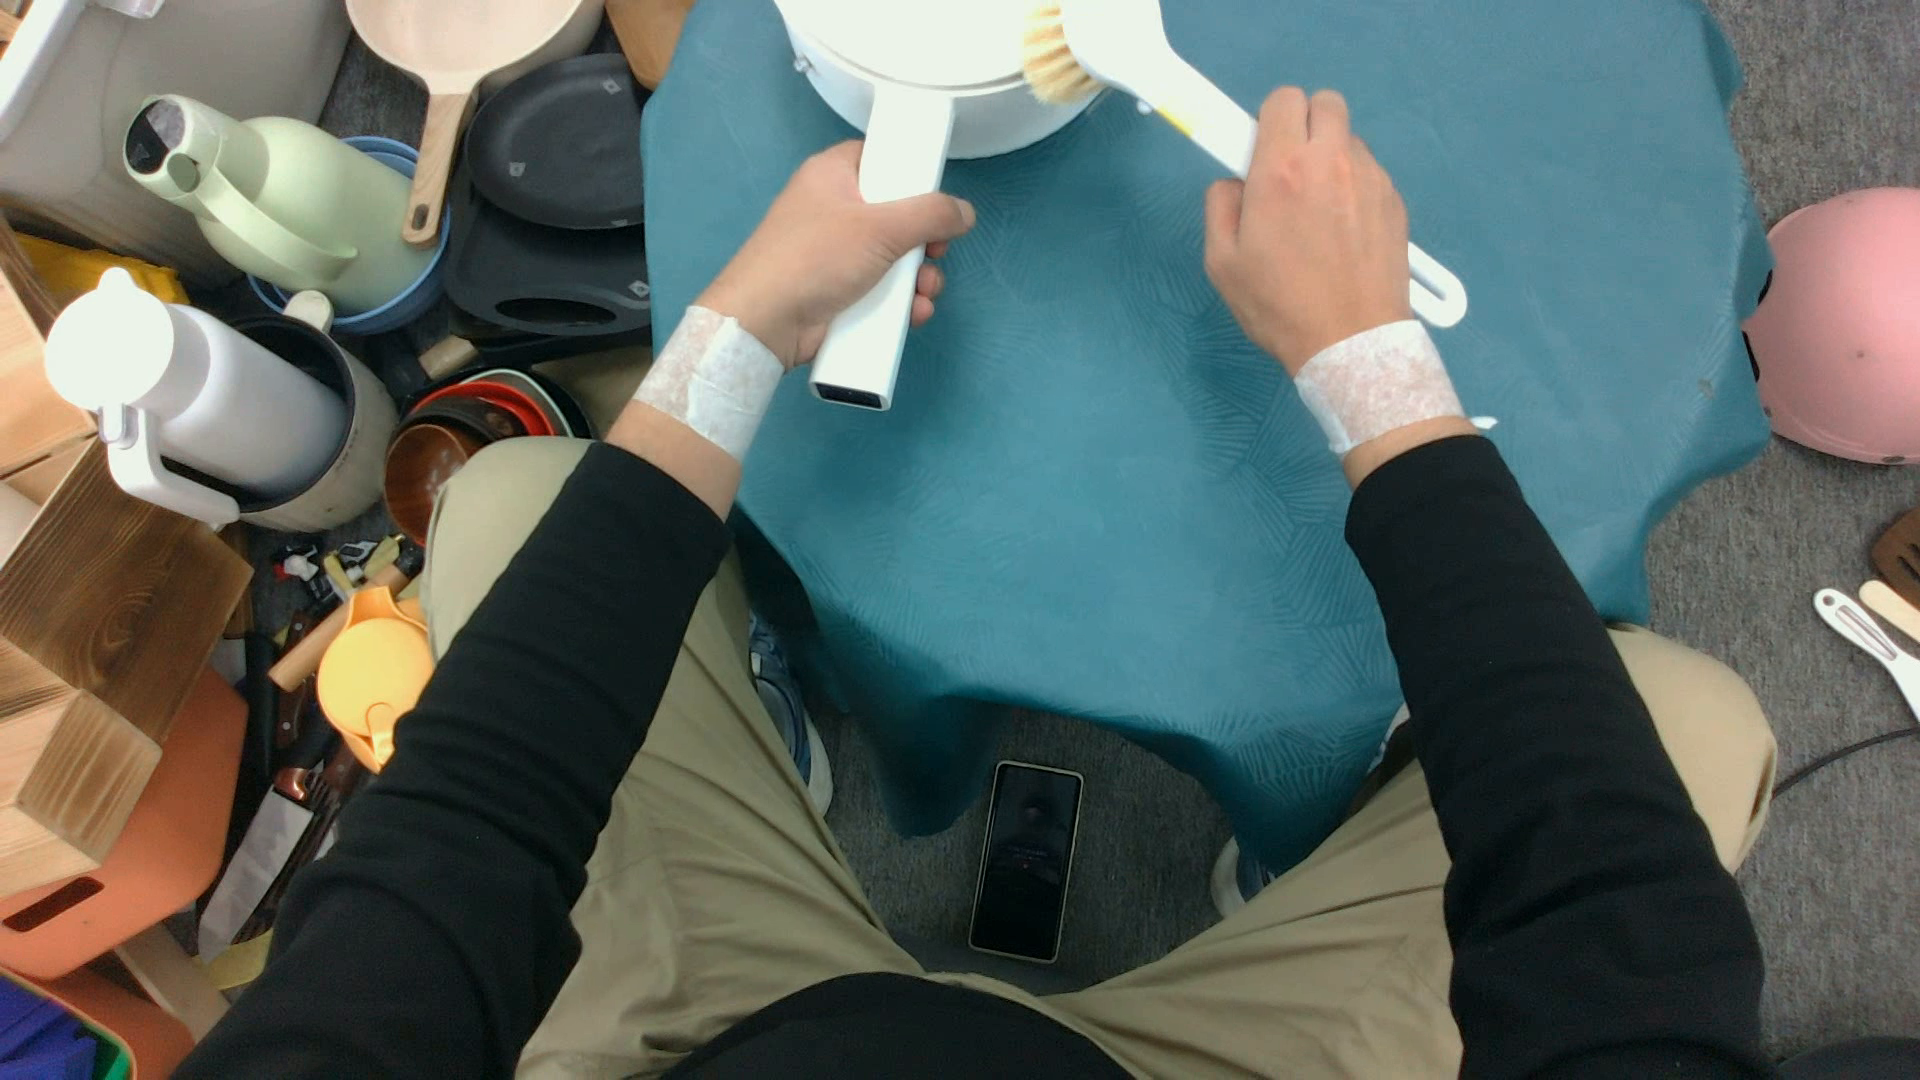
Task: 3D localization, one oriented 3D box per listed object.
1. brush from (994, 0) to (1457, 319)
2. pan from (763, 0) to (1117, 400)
[{"bbox_3d":[0.129,-0.188,0.666,0.266,0.056,0.068,35,78,-15],"label":"brush"},{"bbox_3d":[-0.026,-0.237,0.722,0.201,0.102,0.355,11,80,3],"label":"pan"}]
